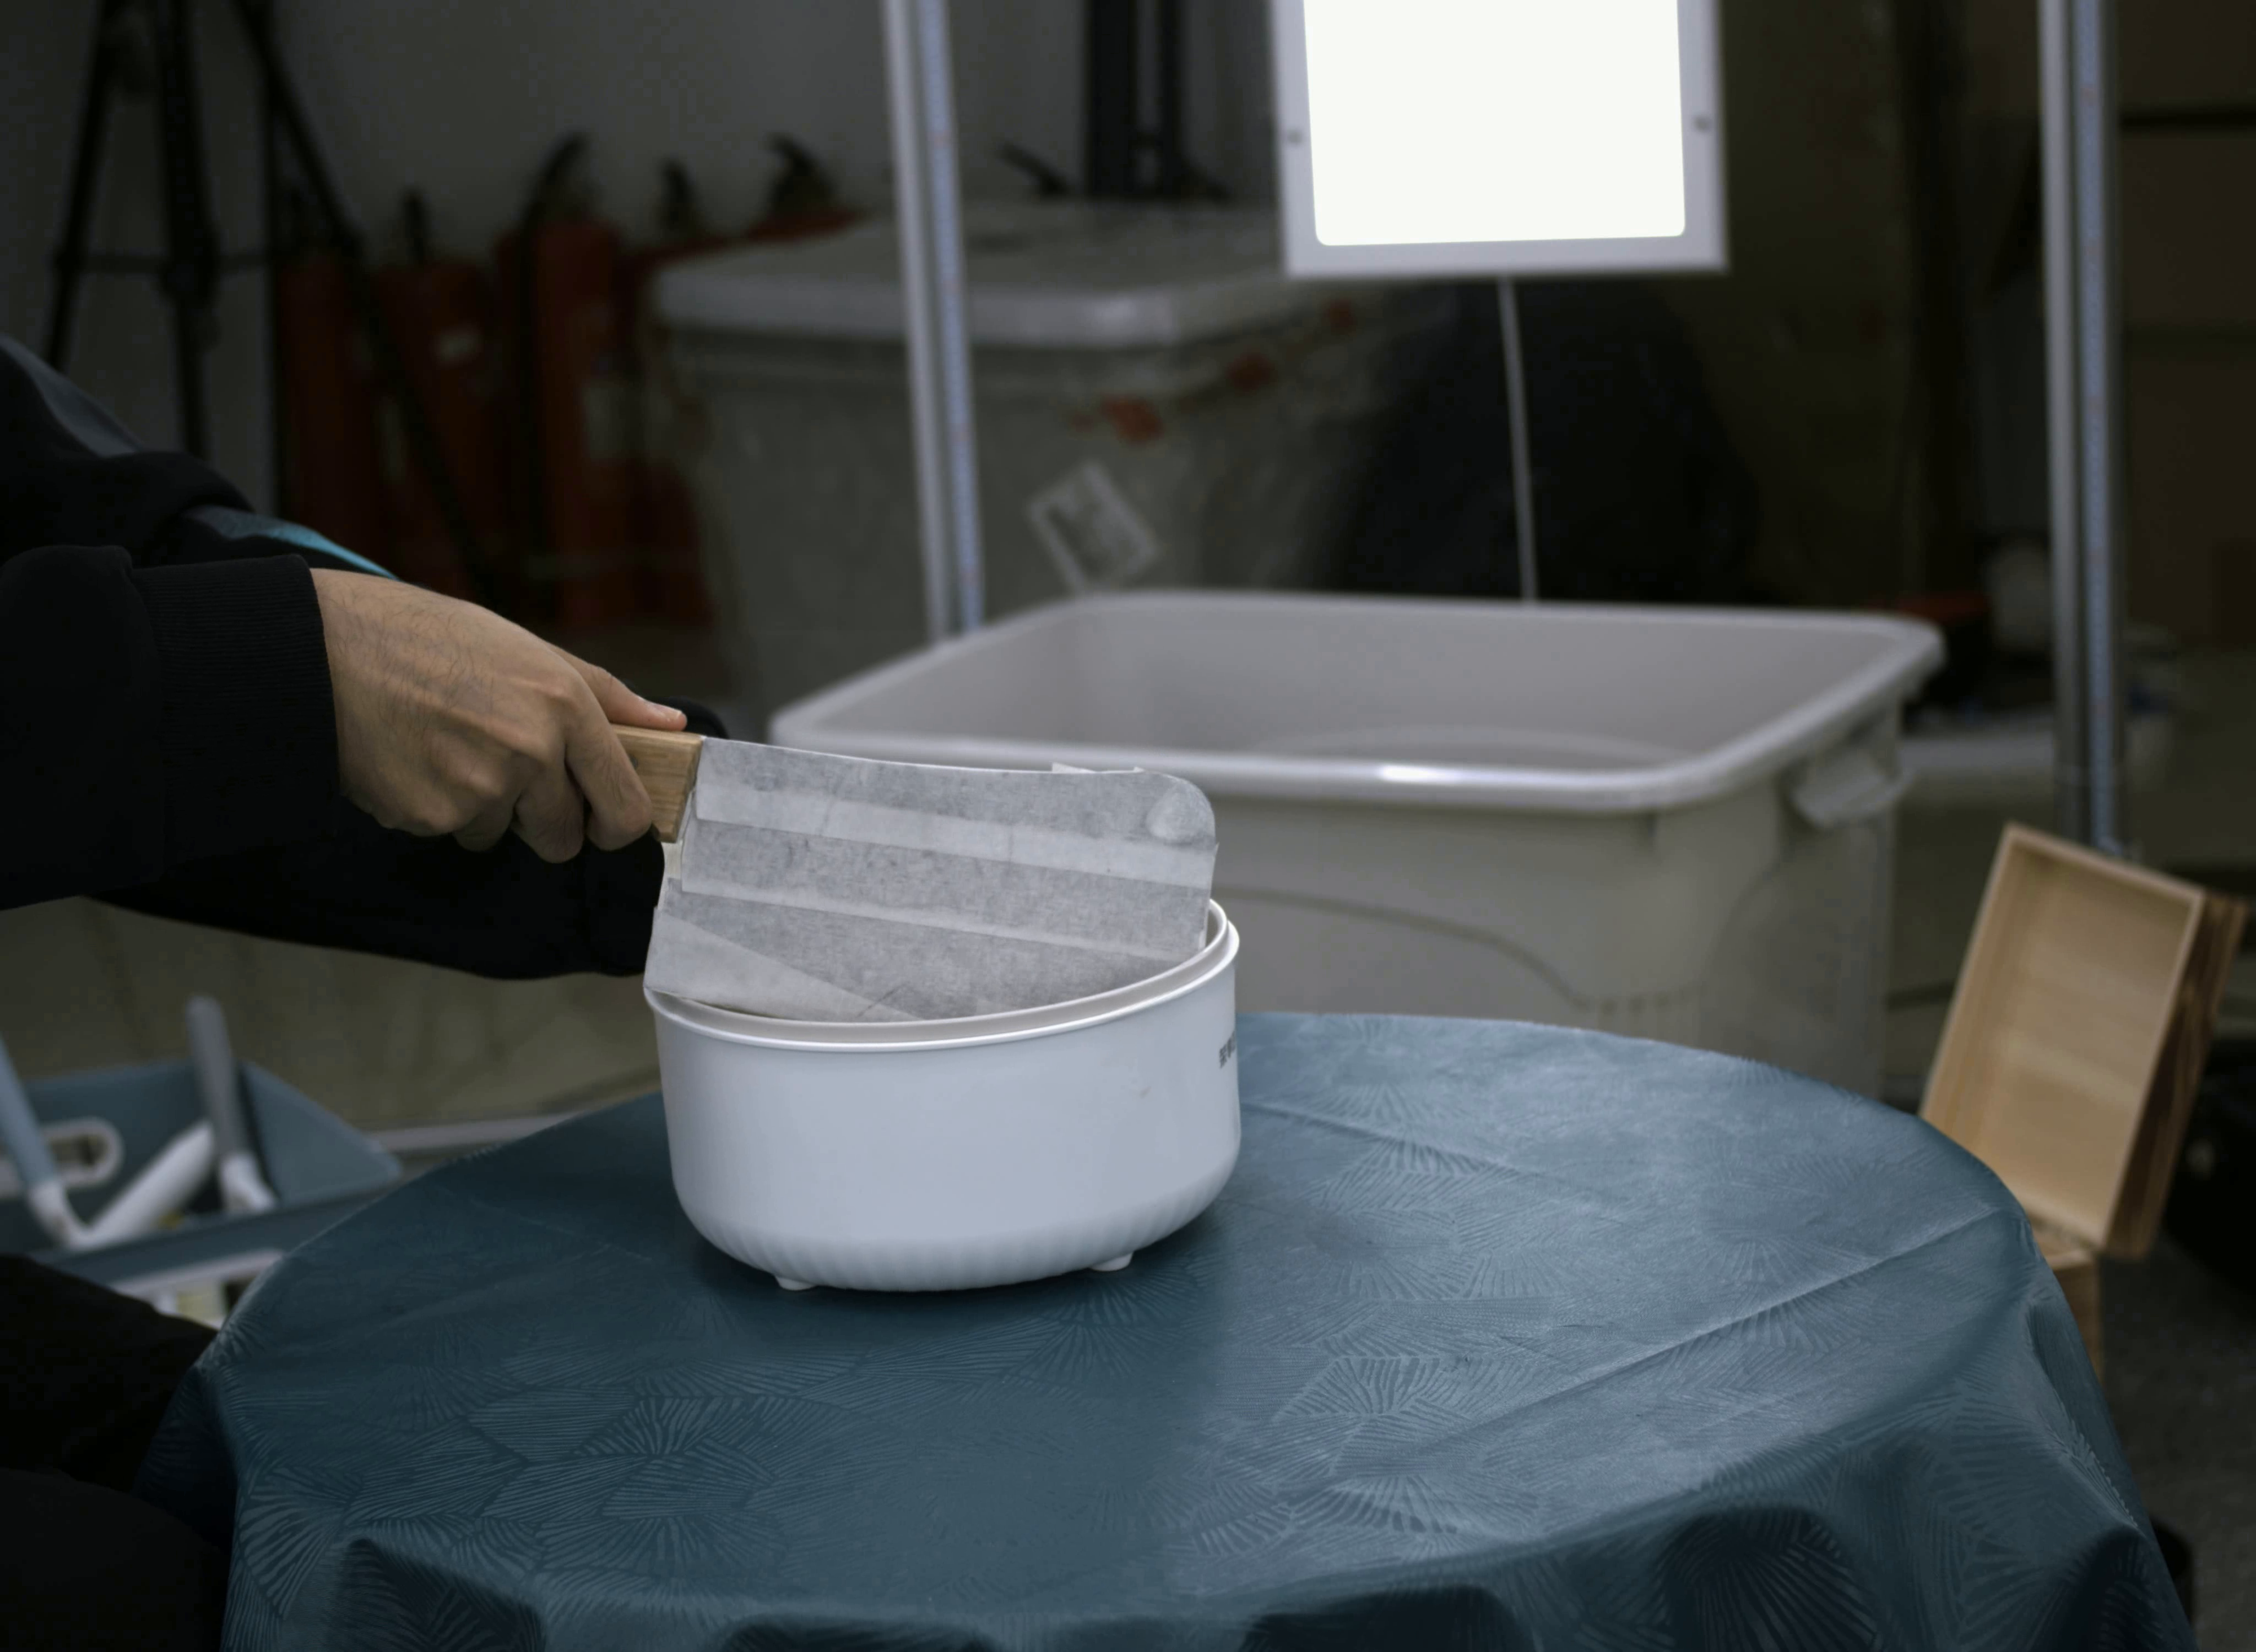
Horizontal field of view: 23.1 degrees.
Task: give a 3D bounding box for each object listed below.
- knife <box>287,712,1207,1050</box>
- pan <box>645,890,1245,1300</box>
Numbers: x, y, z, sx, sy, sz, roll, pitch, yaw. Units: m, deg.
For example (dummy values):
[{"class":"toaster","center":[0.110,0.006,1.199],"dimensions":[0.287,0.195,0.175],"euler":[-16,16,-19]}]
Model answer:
[{"class":"knife","center":[-0.121,0.006,1.809],"dimensions":[0.313,0.114,0.022],"euler":[12,2,-3]},{"class":"pan","center":[-0.056,0.072,1.939],"dimensions":[0.201,0.102,0.353],"euler":[-6,13,4]}]
